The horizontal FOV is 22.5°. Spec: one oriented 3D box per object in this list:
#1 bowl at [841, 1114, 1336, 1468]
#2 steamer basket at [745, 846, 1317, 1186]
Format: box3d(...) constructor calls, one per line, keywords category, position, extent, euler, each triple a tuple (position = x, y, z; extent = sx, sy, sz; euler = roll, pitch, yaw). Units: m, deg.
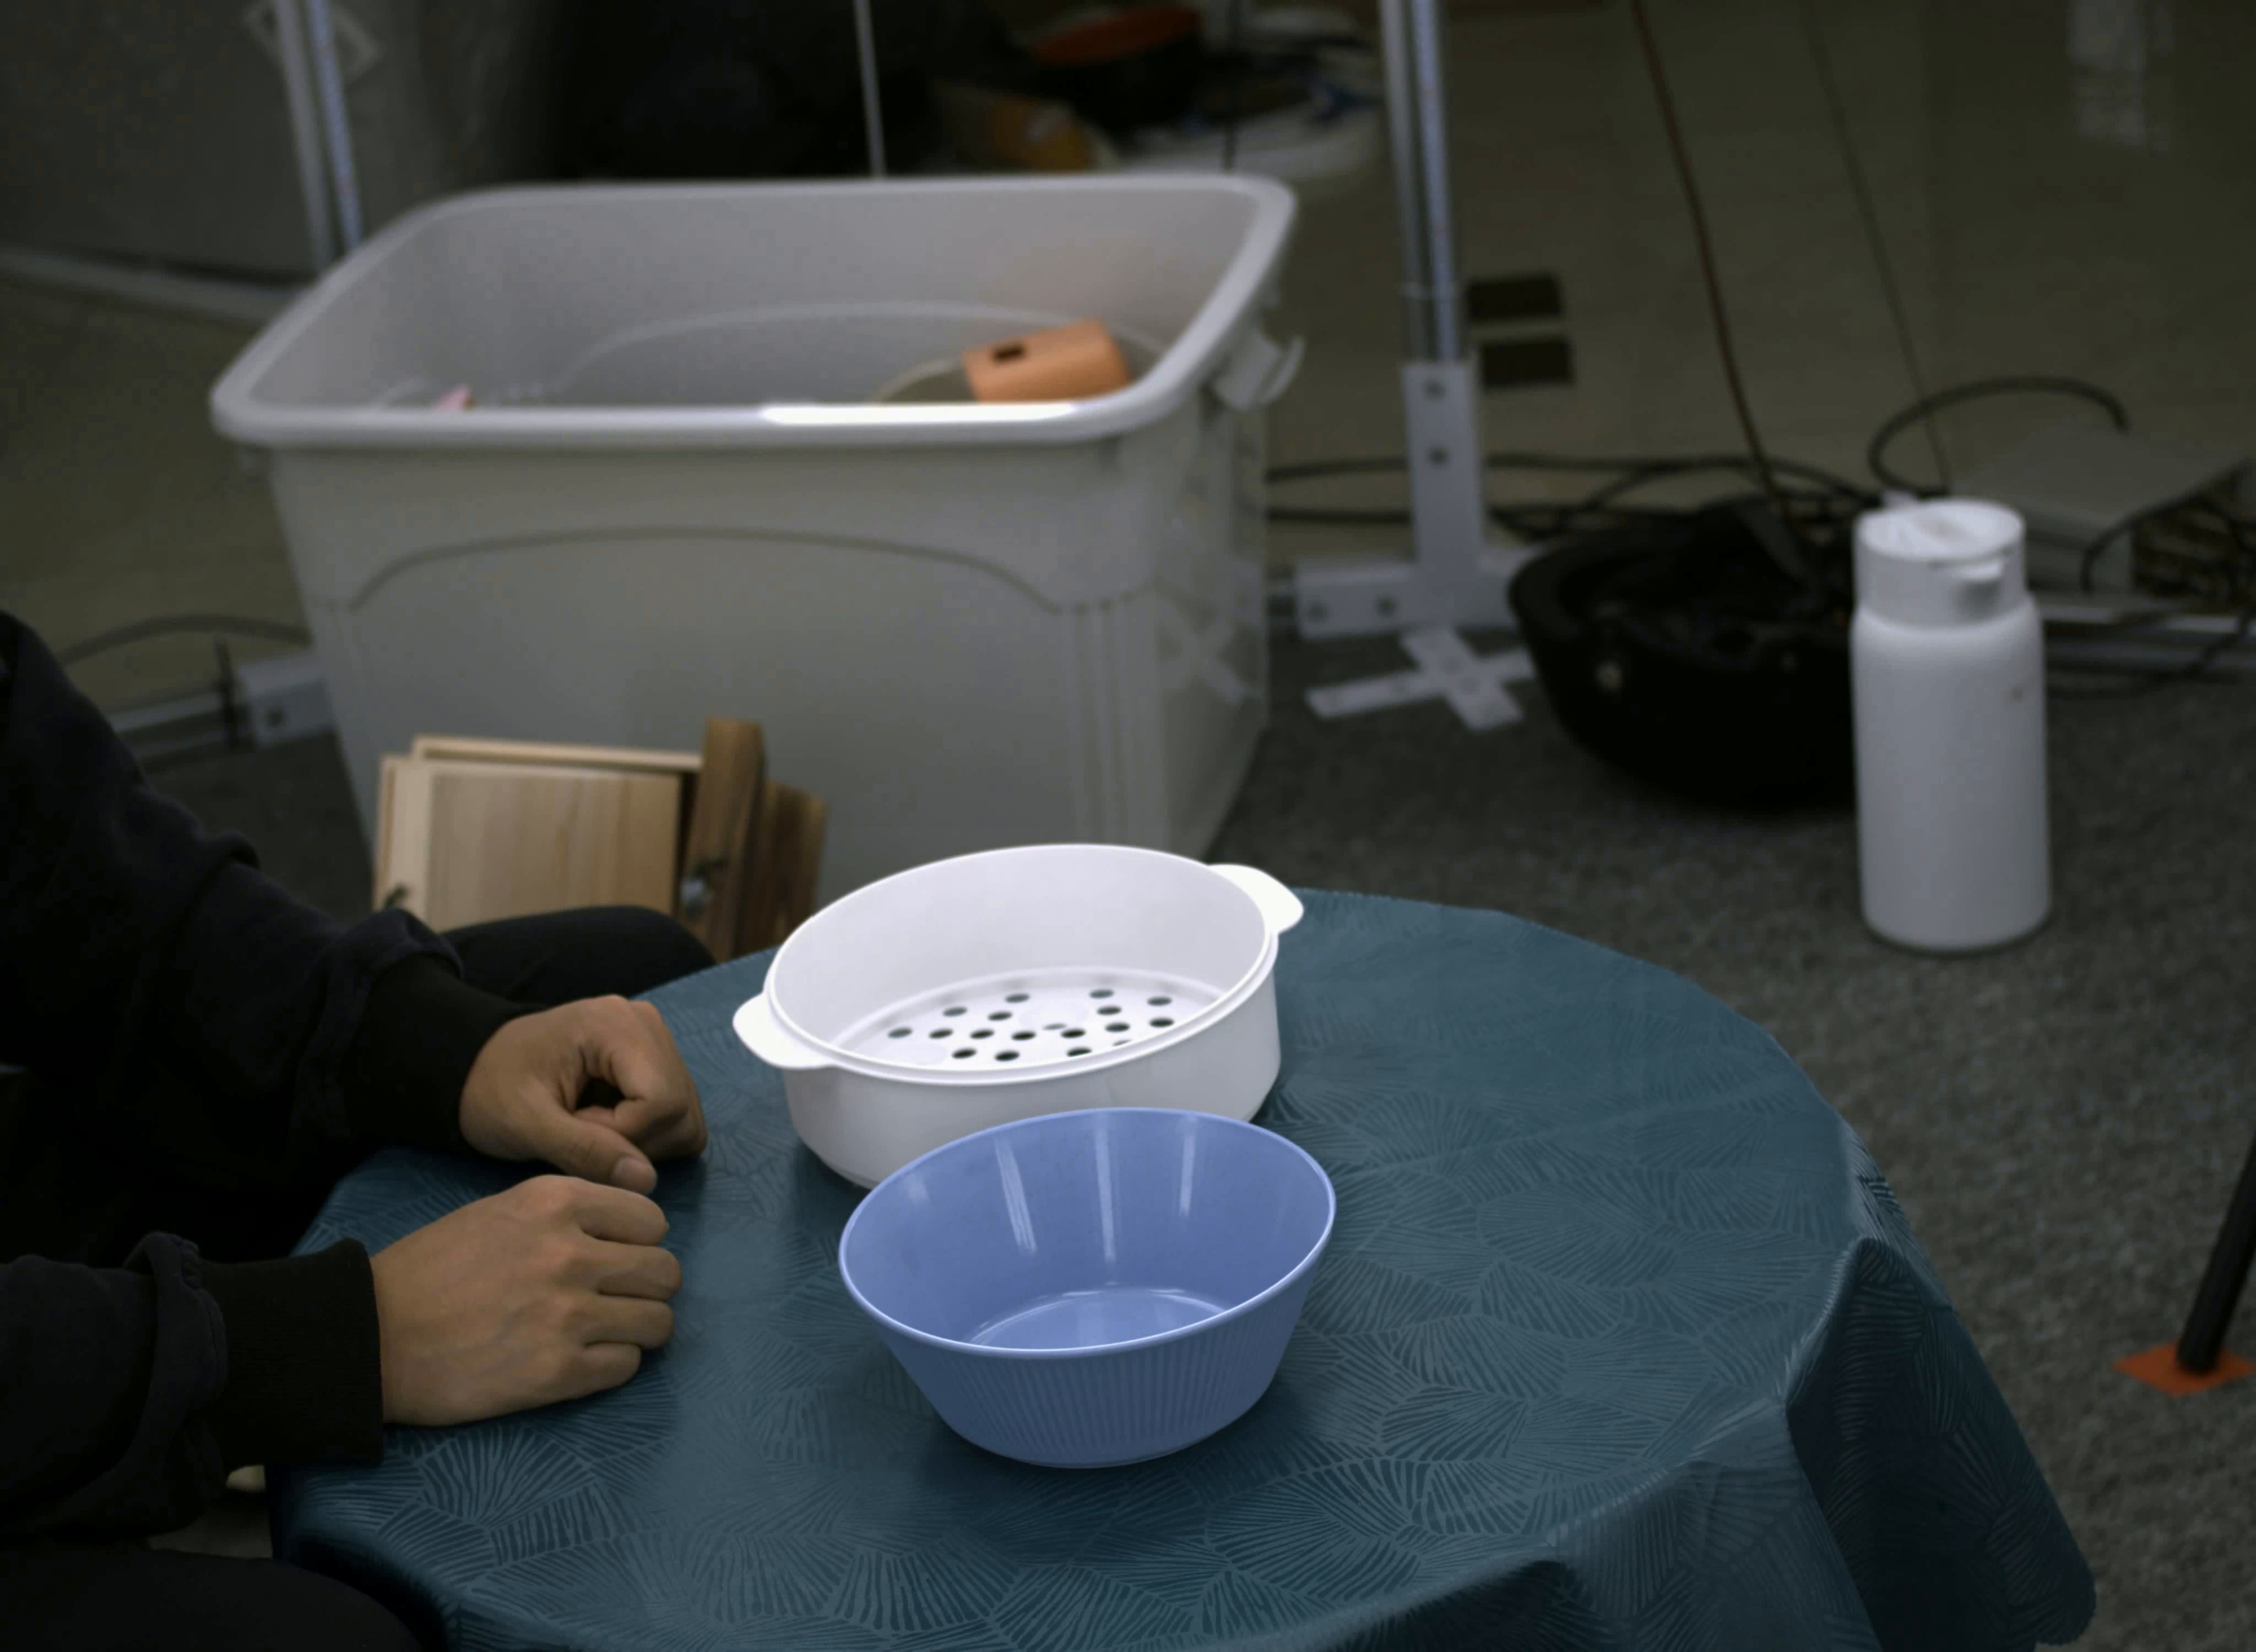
box3d(category="bowl", position=(-0.011, 0.170, 2.004), extent=(0.176, 0.071, 0.173), euler=(-6, 24, 3))
box3d(category="steamer basket", position=(-0.034, 0.078, 2.211), extent=(0.229, 0.070, 0.199), euler=(-14, 26, -21))
